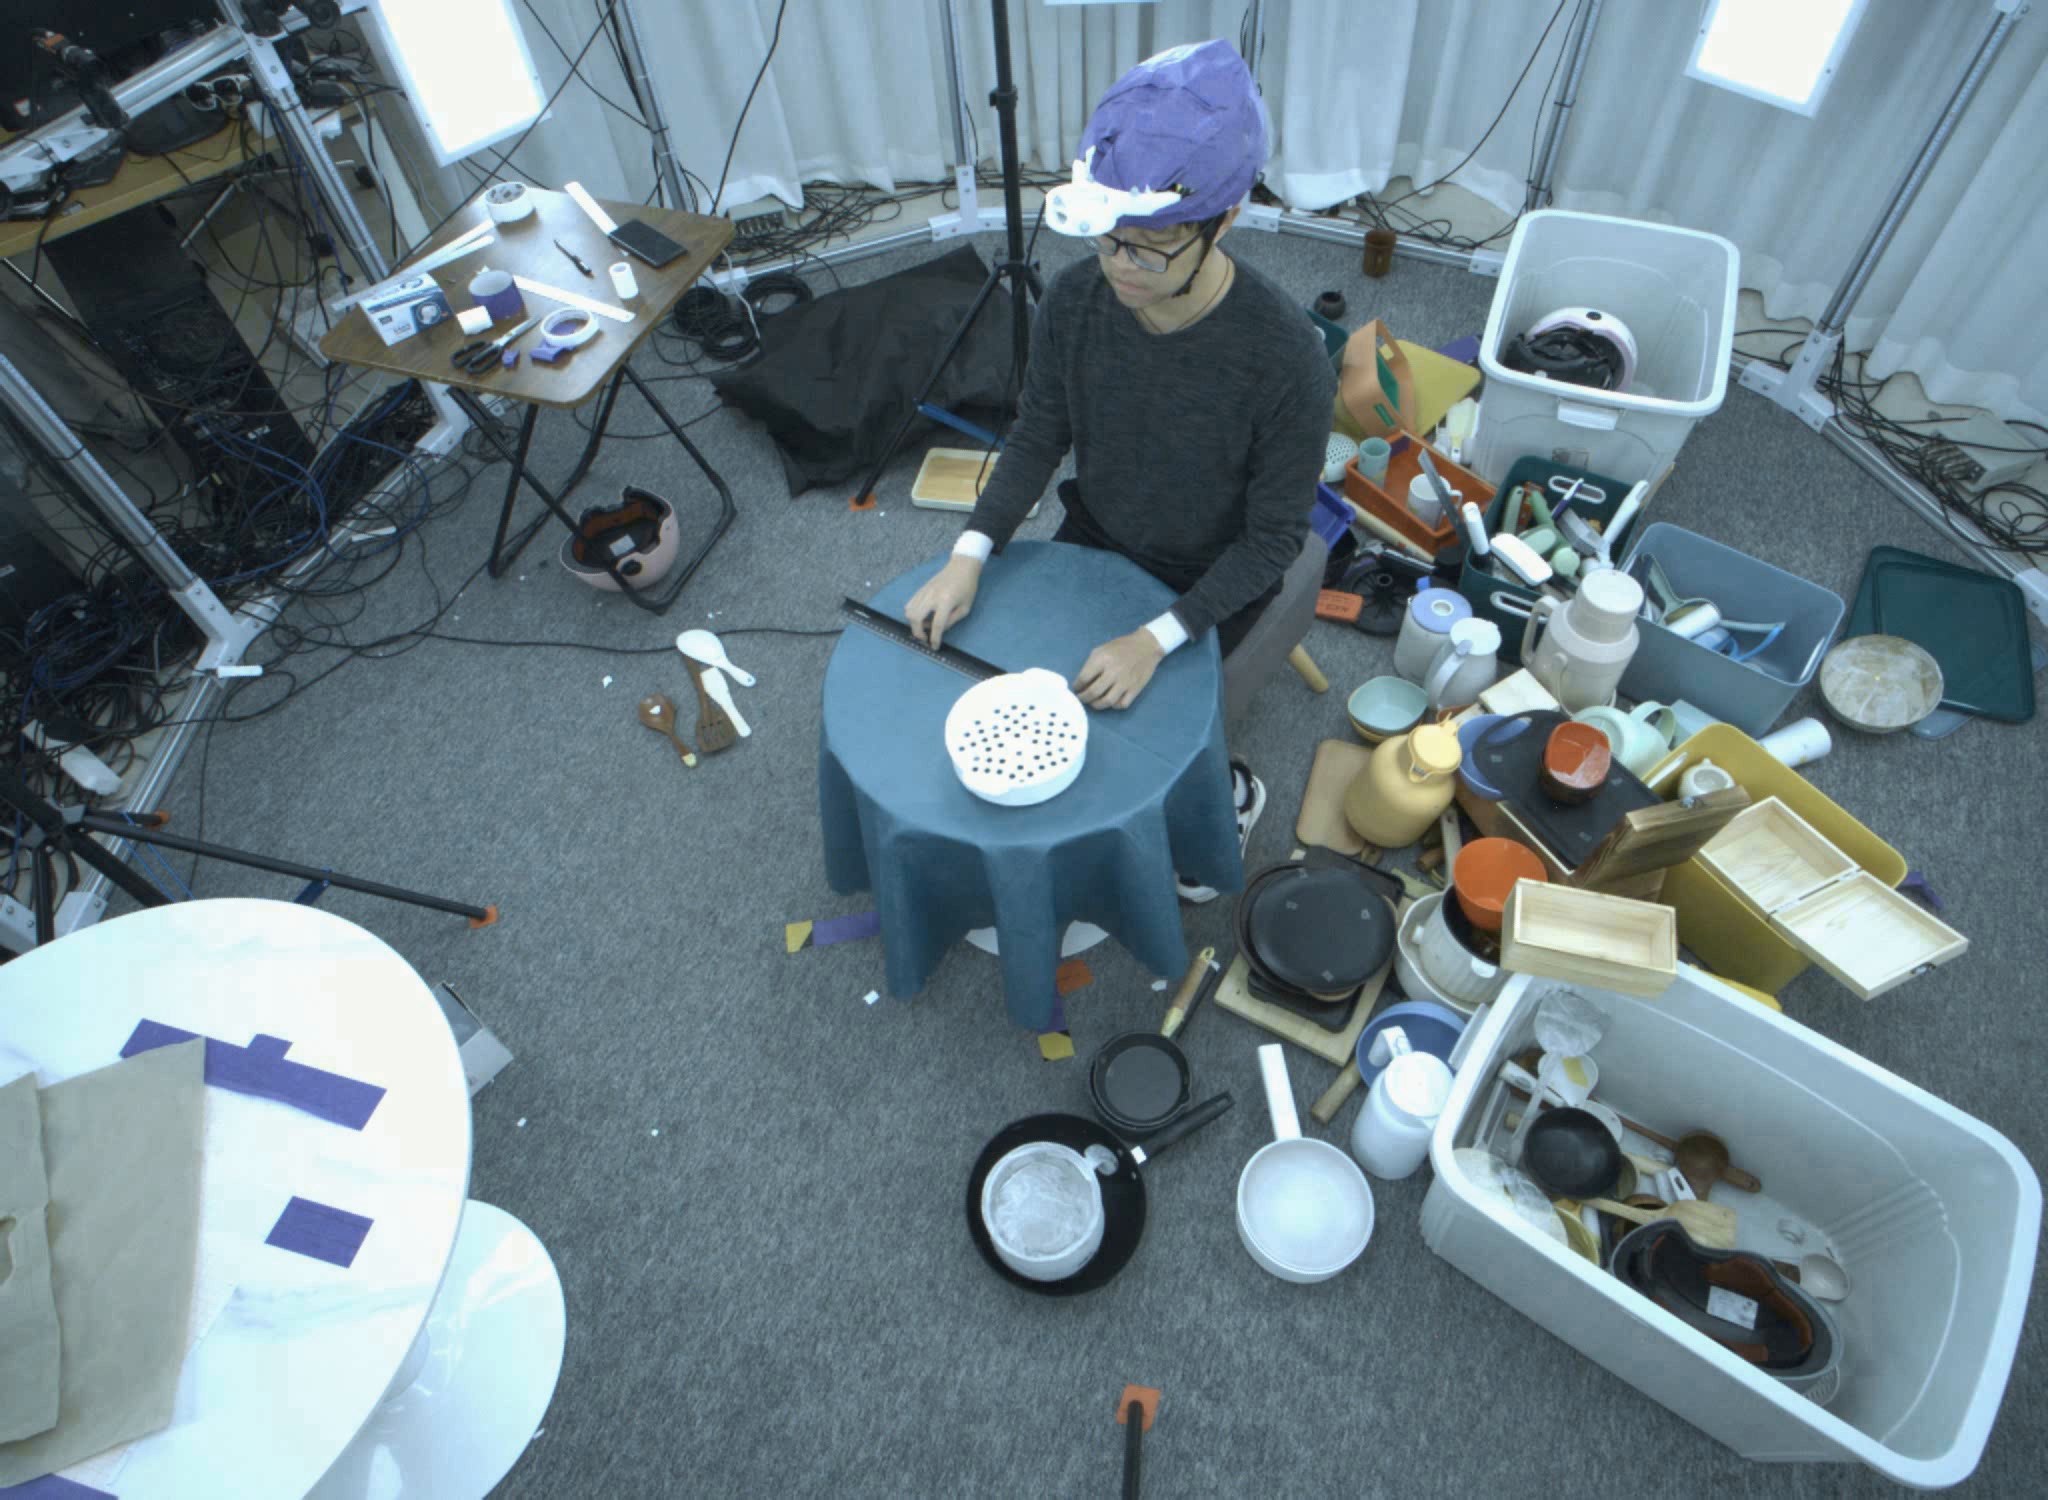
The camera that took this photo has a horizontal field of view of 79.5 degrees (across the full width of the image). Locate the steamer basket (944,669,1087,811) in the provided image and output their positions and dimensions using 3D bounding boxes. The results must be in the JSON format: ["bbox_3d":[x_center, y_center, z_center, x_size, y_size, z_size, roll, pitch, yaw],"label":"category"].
[{"bbox_3d":[-0.010,-0.009,1.752,0.199,0.070,0.230,19,60,15],"label":"steamer basket"}]

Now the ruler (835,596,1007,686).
[{"bbox_3d":[-0.167,-0.170,1.904,0.308,0.017,0.039,26,63,19],"label":"ruler"}]
